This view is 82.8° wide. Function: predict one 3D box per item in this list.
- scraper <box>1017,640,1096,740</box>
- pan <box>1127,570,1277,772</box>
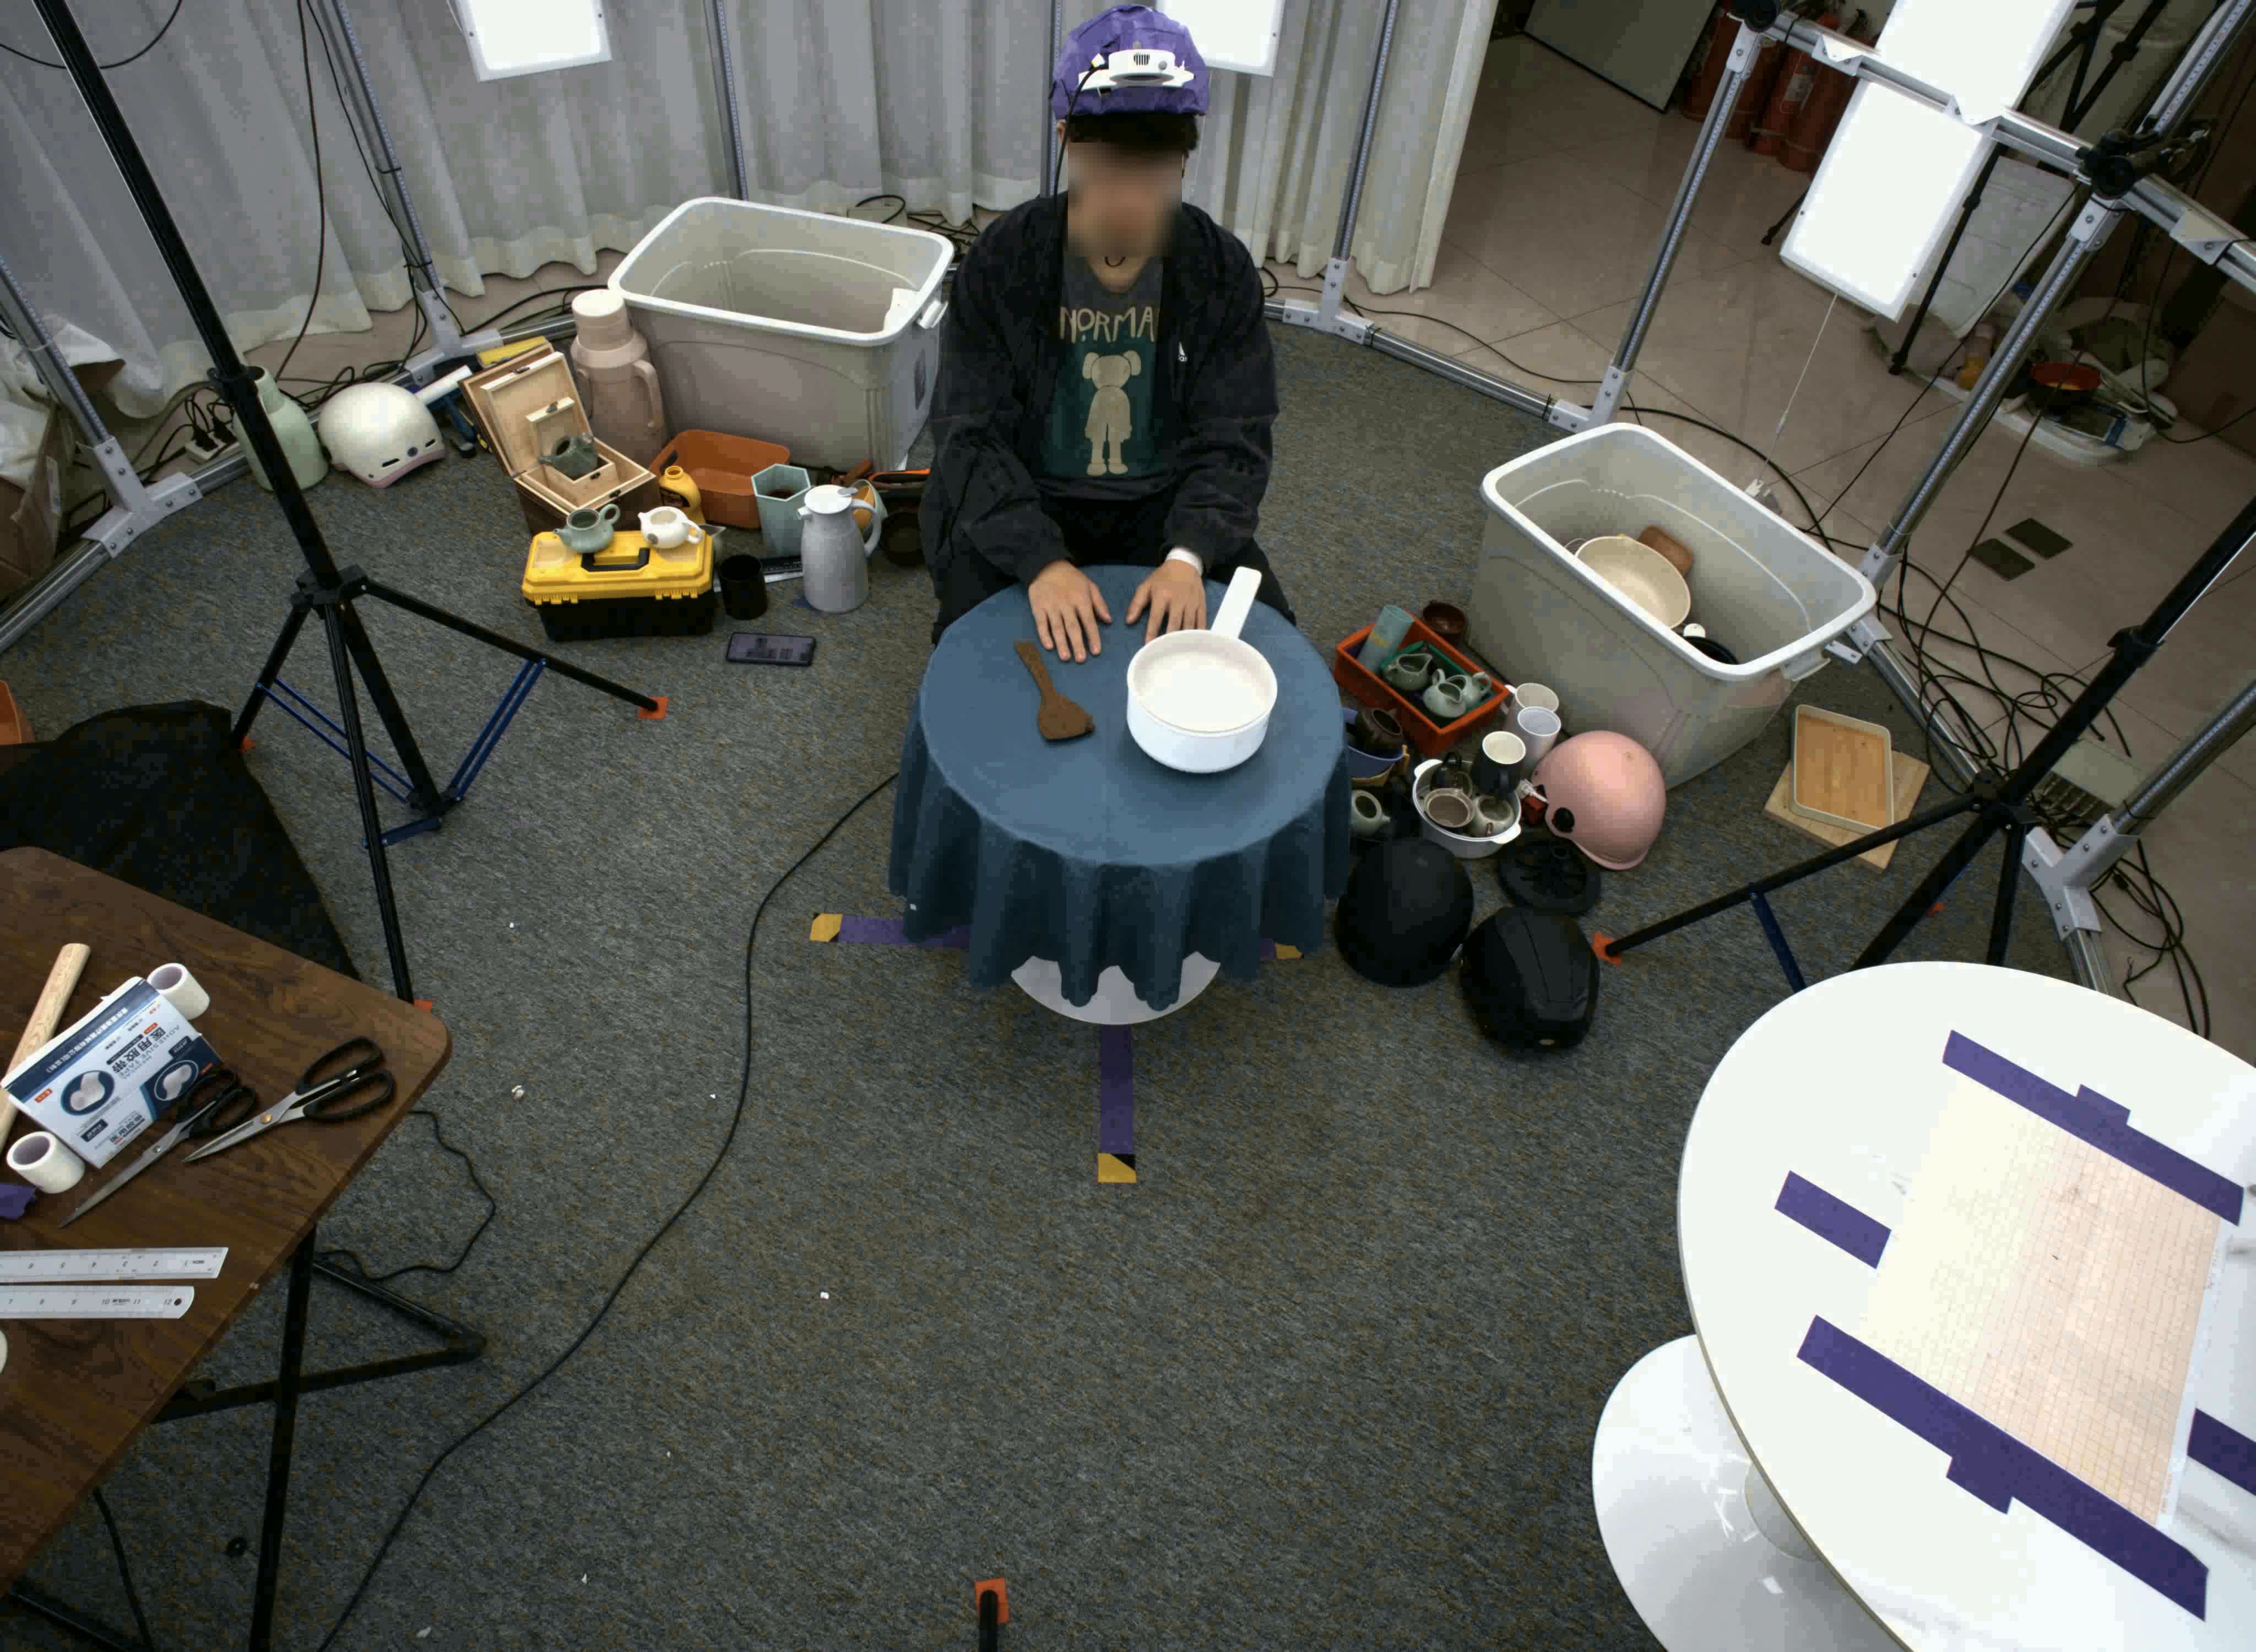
[{"bbox_3d":[-0.114,-0.197,1.826,0.076,0.010,0.216,-14,50,-16],"label":"scraper"},{"bbox_3d":[0.121,-0.220,1.803,0.202,0.099,0.362,15,48,10],"label":"pan"}]
